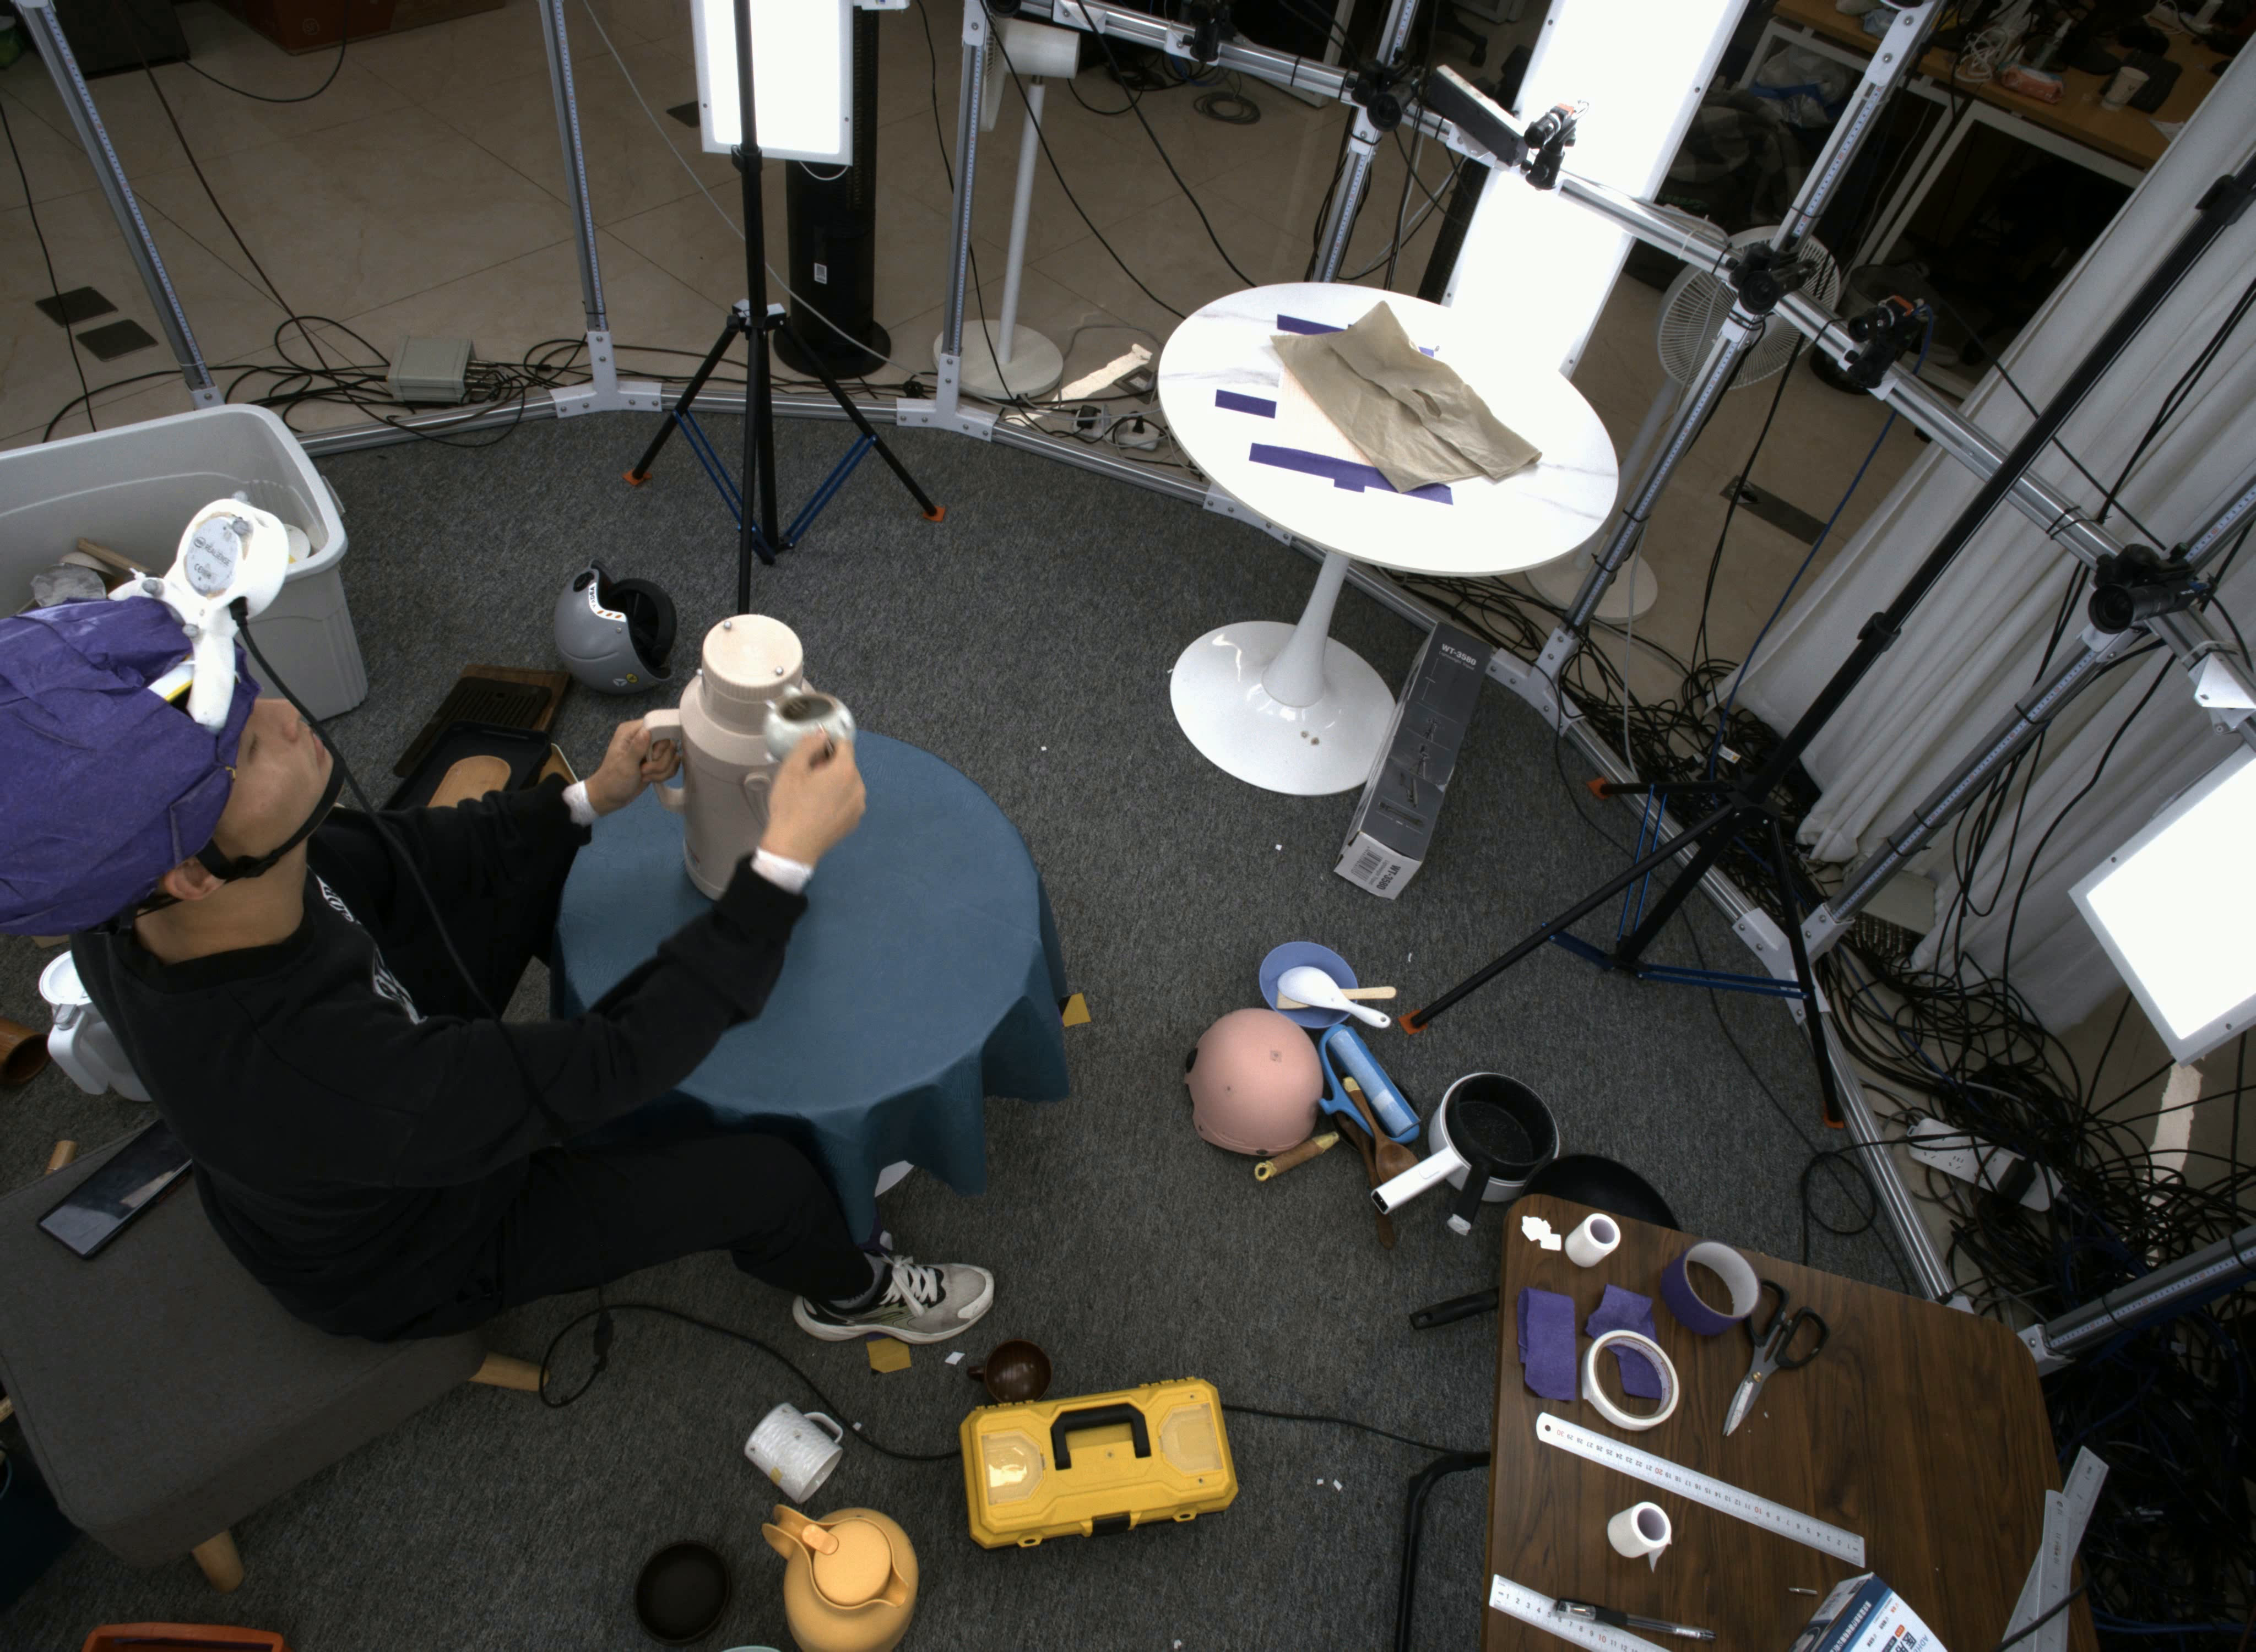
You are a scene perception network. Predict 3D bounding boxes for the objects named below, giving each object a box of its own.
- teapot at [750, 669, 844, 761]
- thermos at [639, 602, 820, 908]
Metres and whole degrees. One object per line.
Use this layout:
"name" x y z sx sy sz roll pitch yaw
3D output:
"teapot" -0.326 -0.107 1.289 0.092 0.061 0.123 -19 40 -30
"thermos" -0.461 -0.078 1.506 0.208 0.412 0.171 -7 58 -21
